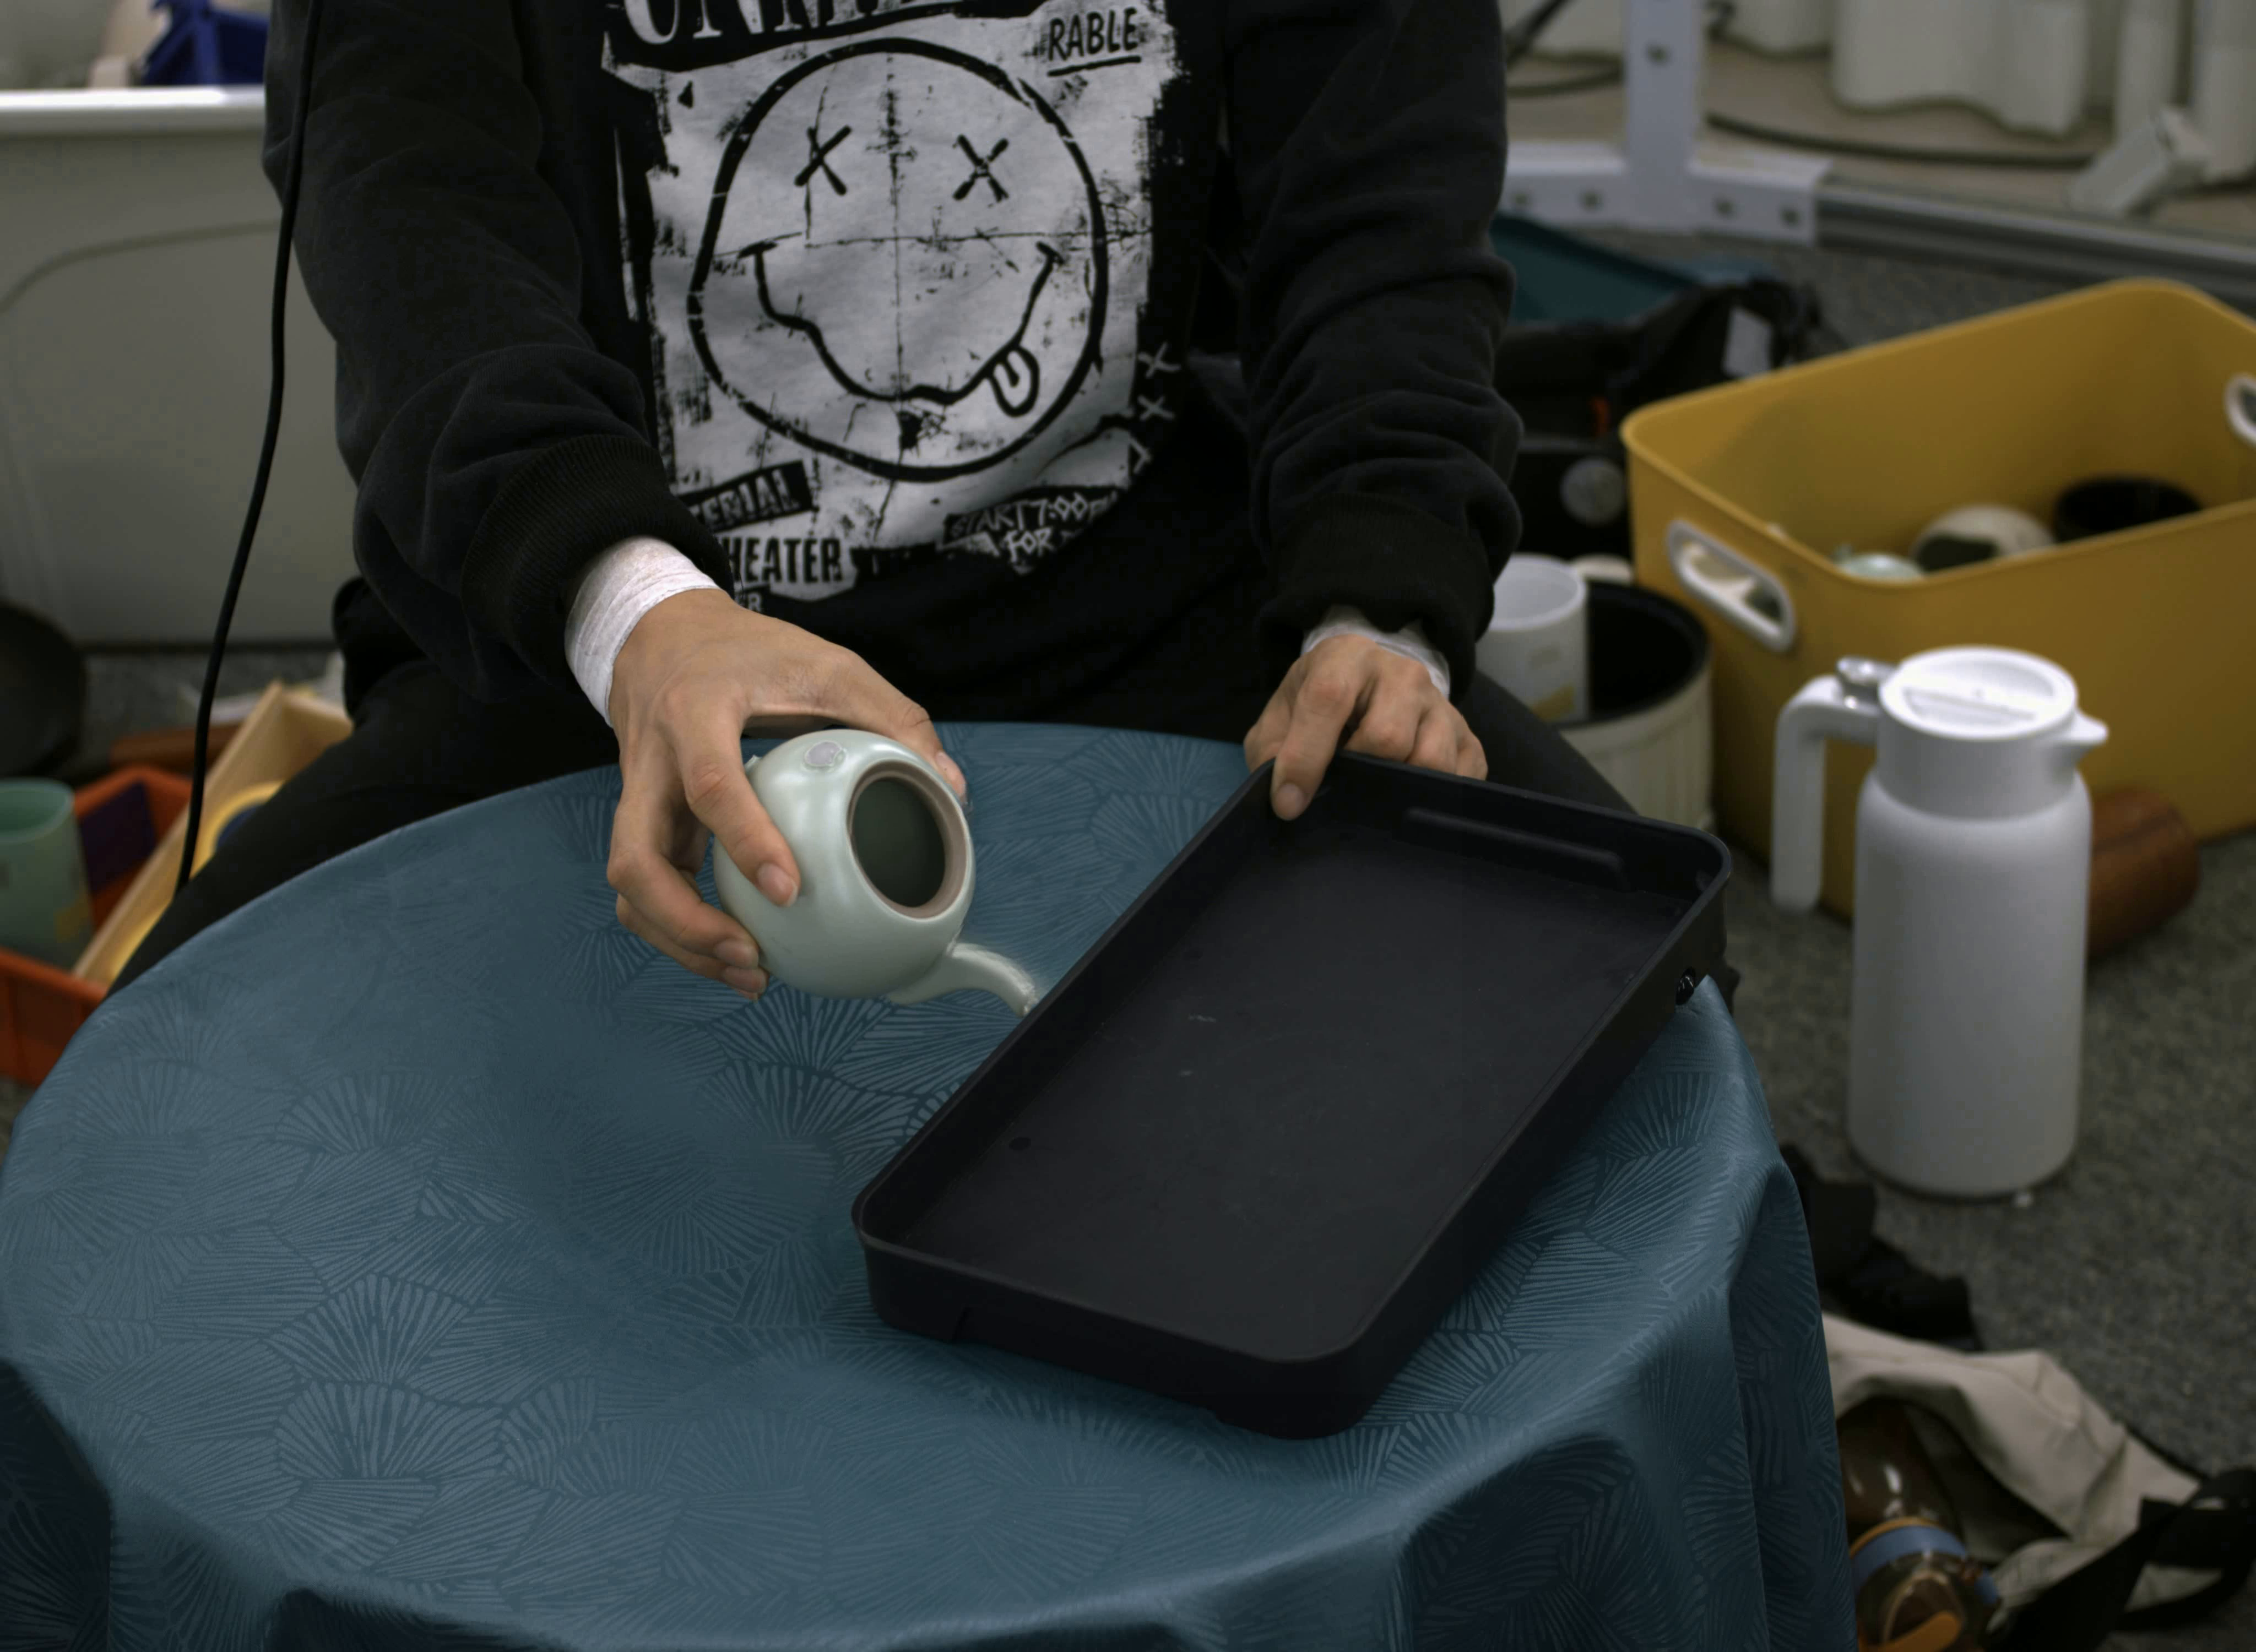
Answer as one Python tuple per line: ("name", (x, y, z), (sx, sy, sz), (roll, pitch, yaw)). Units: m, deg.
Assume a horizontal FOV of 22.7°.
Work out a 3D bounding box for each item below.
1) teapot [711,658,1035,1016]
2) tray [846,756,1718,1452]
("teapot", (-0.092, 0.011, 1.817), (0.073, 0.143, 0.090), (-19, 21, 38))
("tray", (0.057, 0.084, 1.857), (0.183, 0.036, 0.324), (12, 36, 25))
